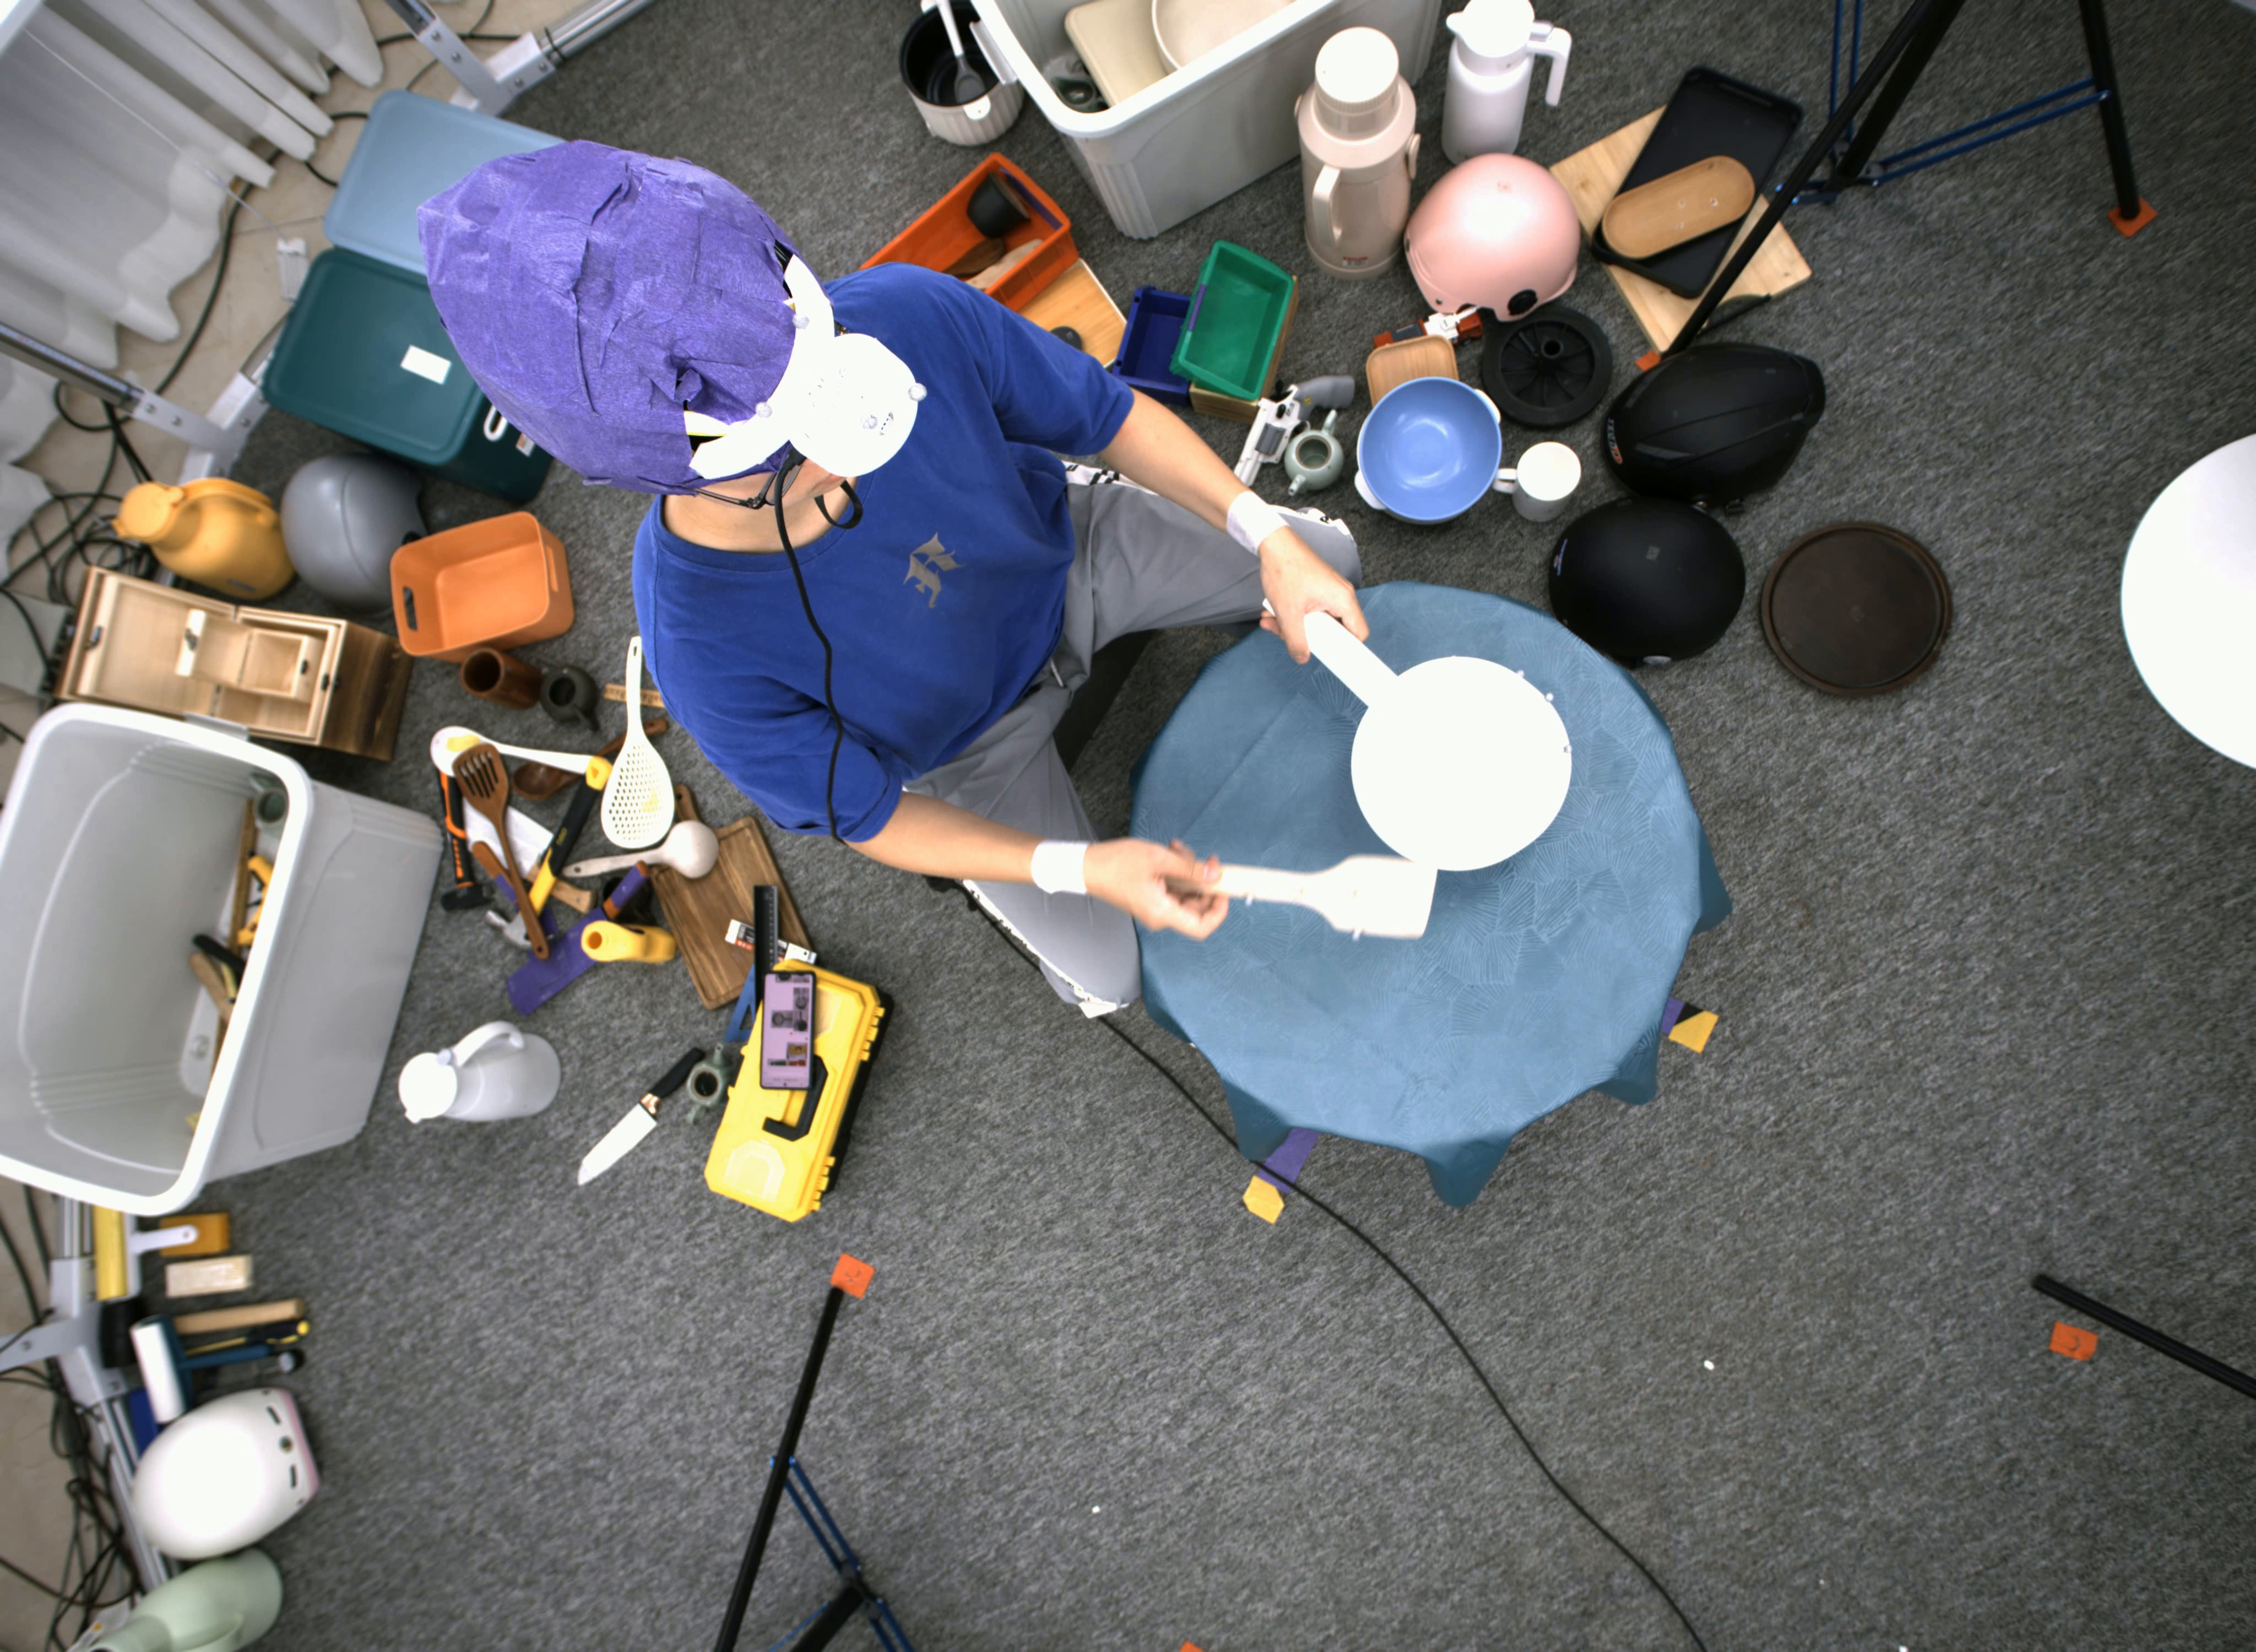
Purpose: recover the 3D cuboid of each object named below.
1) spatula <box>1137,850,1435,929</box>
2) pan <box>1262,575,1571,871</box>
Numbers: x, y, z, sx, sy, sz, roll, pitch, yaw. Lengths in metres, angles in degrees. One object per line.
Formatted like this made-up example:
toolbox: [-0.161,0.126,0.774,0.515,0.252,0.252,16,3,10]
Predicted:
spatula: [0.139,0.049,1.291,0.294,0.011,0.071,4,71,28]
pan: [0.278,-0.115,1.356,0.352,0.101,0.205,47,115,16]
